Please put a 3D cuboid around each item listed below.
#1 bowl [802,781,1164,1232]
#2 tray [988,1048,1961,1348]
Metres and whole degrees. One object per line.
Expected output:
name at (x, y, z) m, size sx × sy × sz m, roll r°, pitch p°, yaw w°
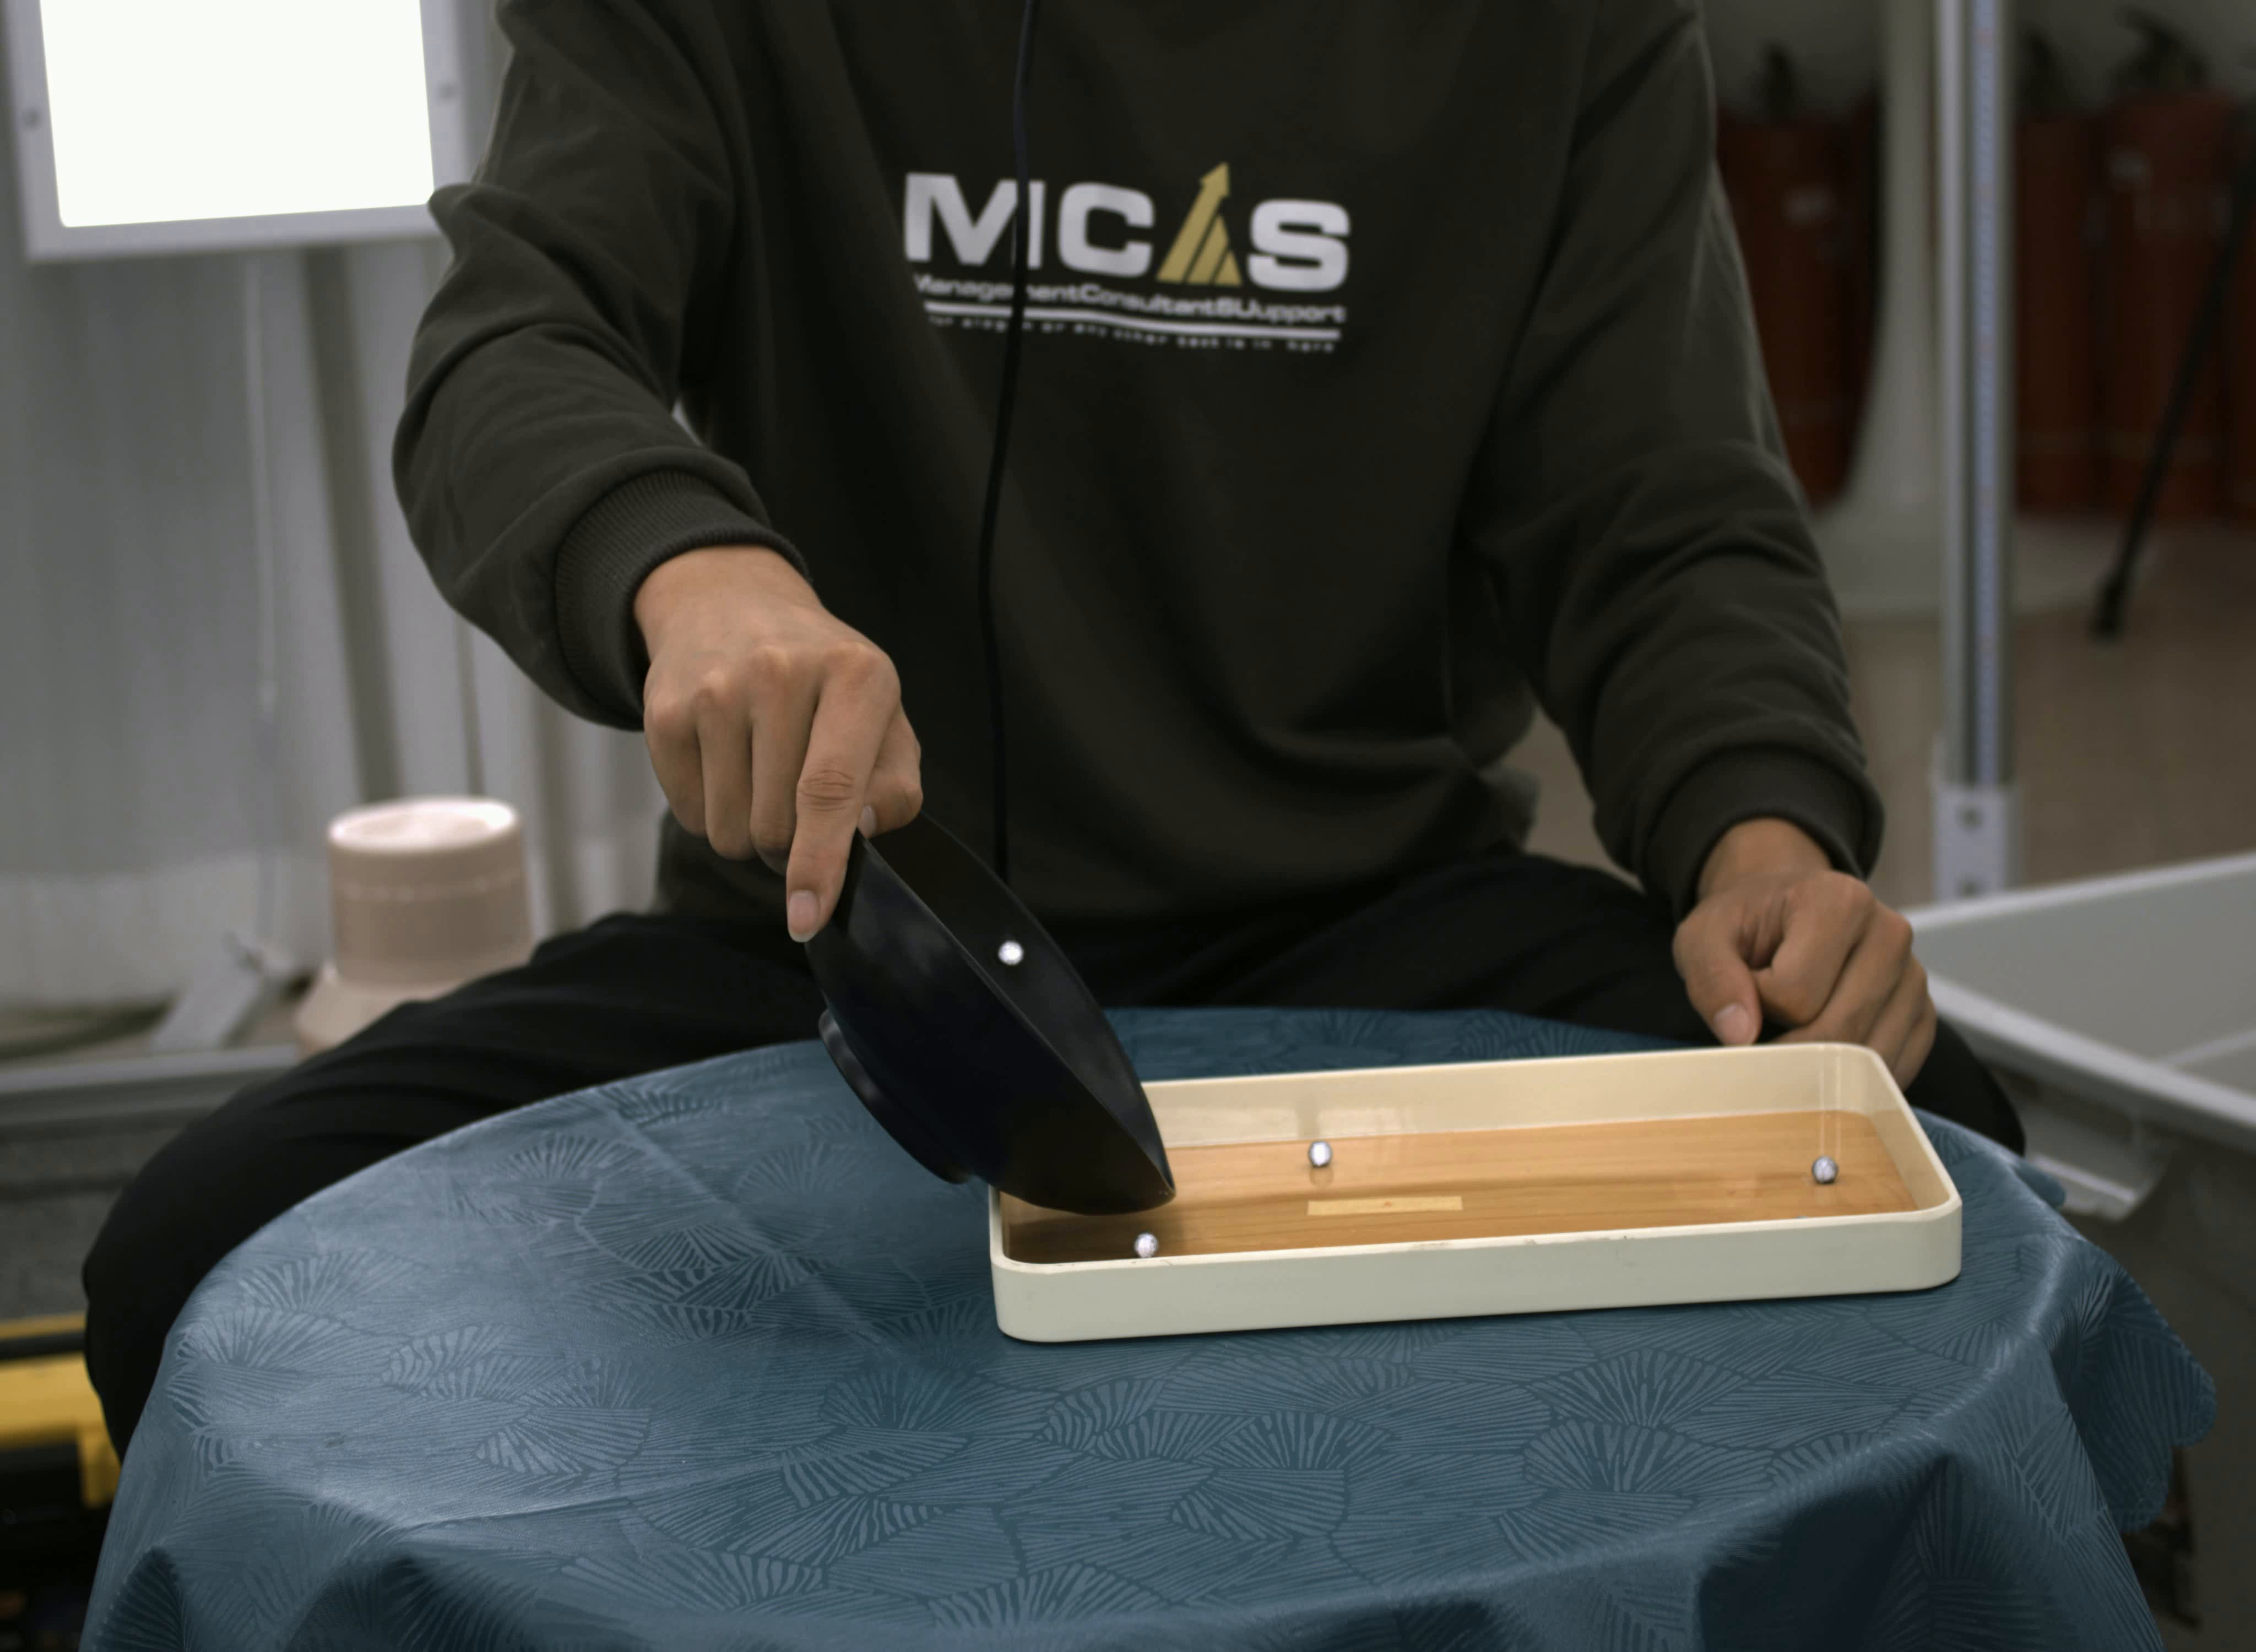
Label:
bowl at (-0.054, 0.067, 1.699) m, size 0.067 × 0.169 × 0.138 m, roll -38°, pitch 16°, yaw 8°
tray at (0.104, 0.117, 1.712) m, size 0.296 × 0.028 × 0.192 m, roll -4°, pitch 13°, yaw 0°
